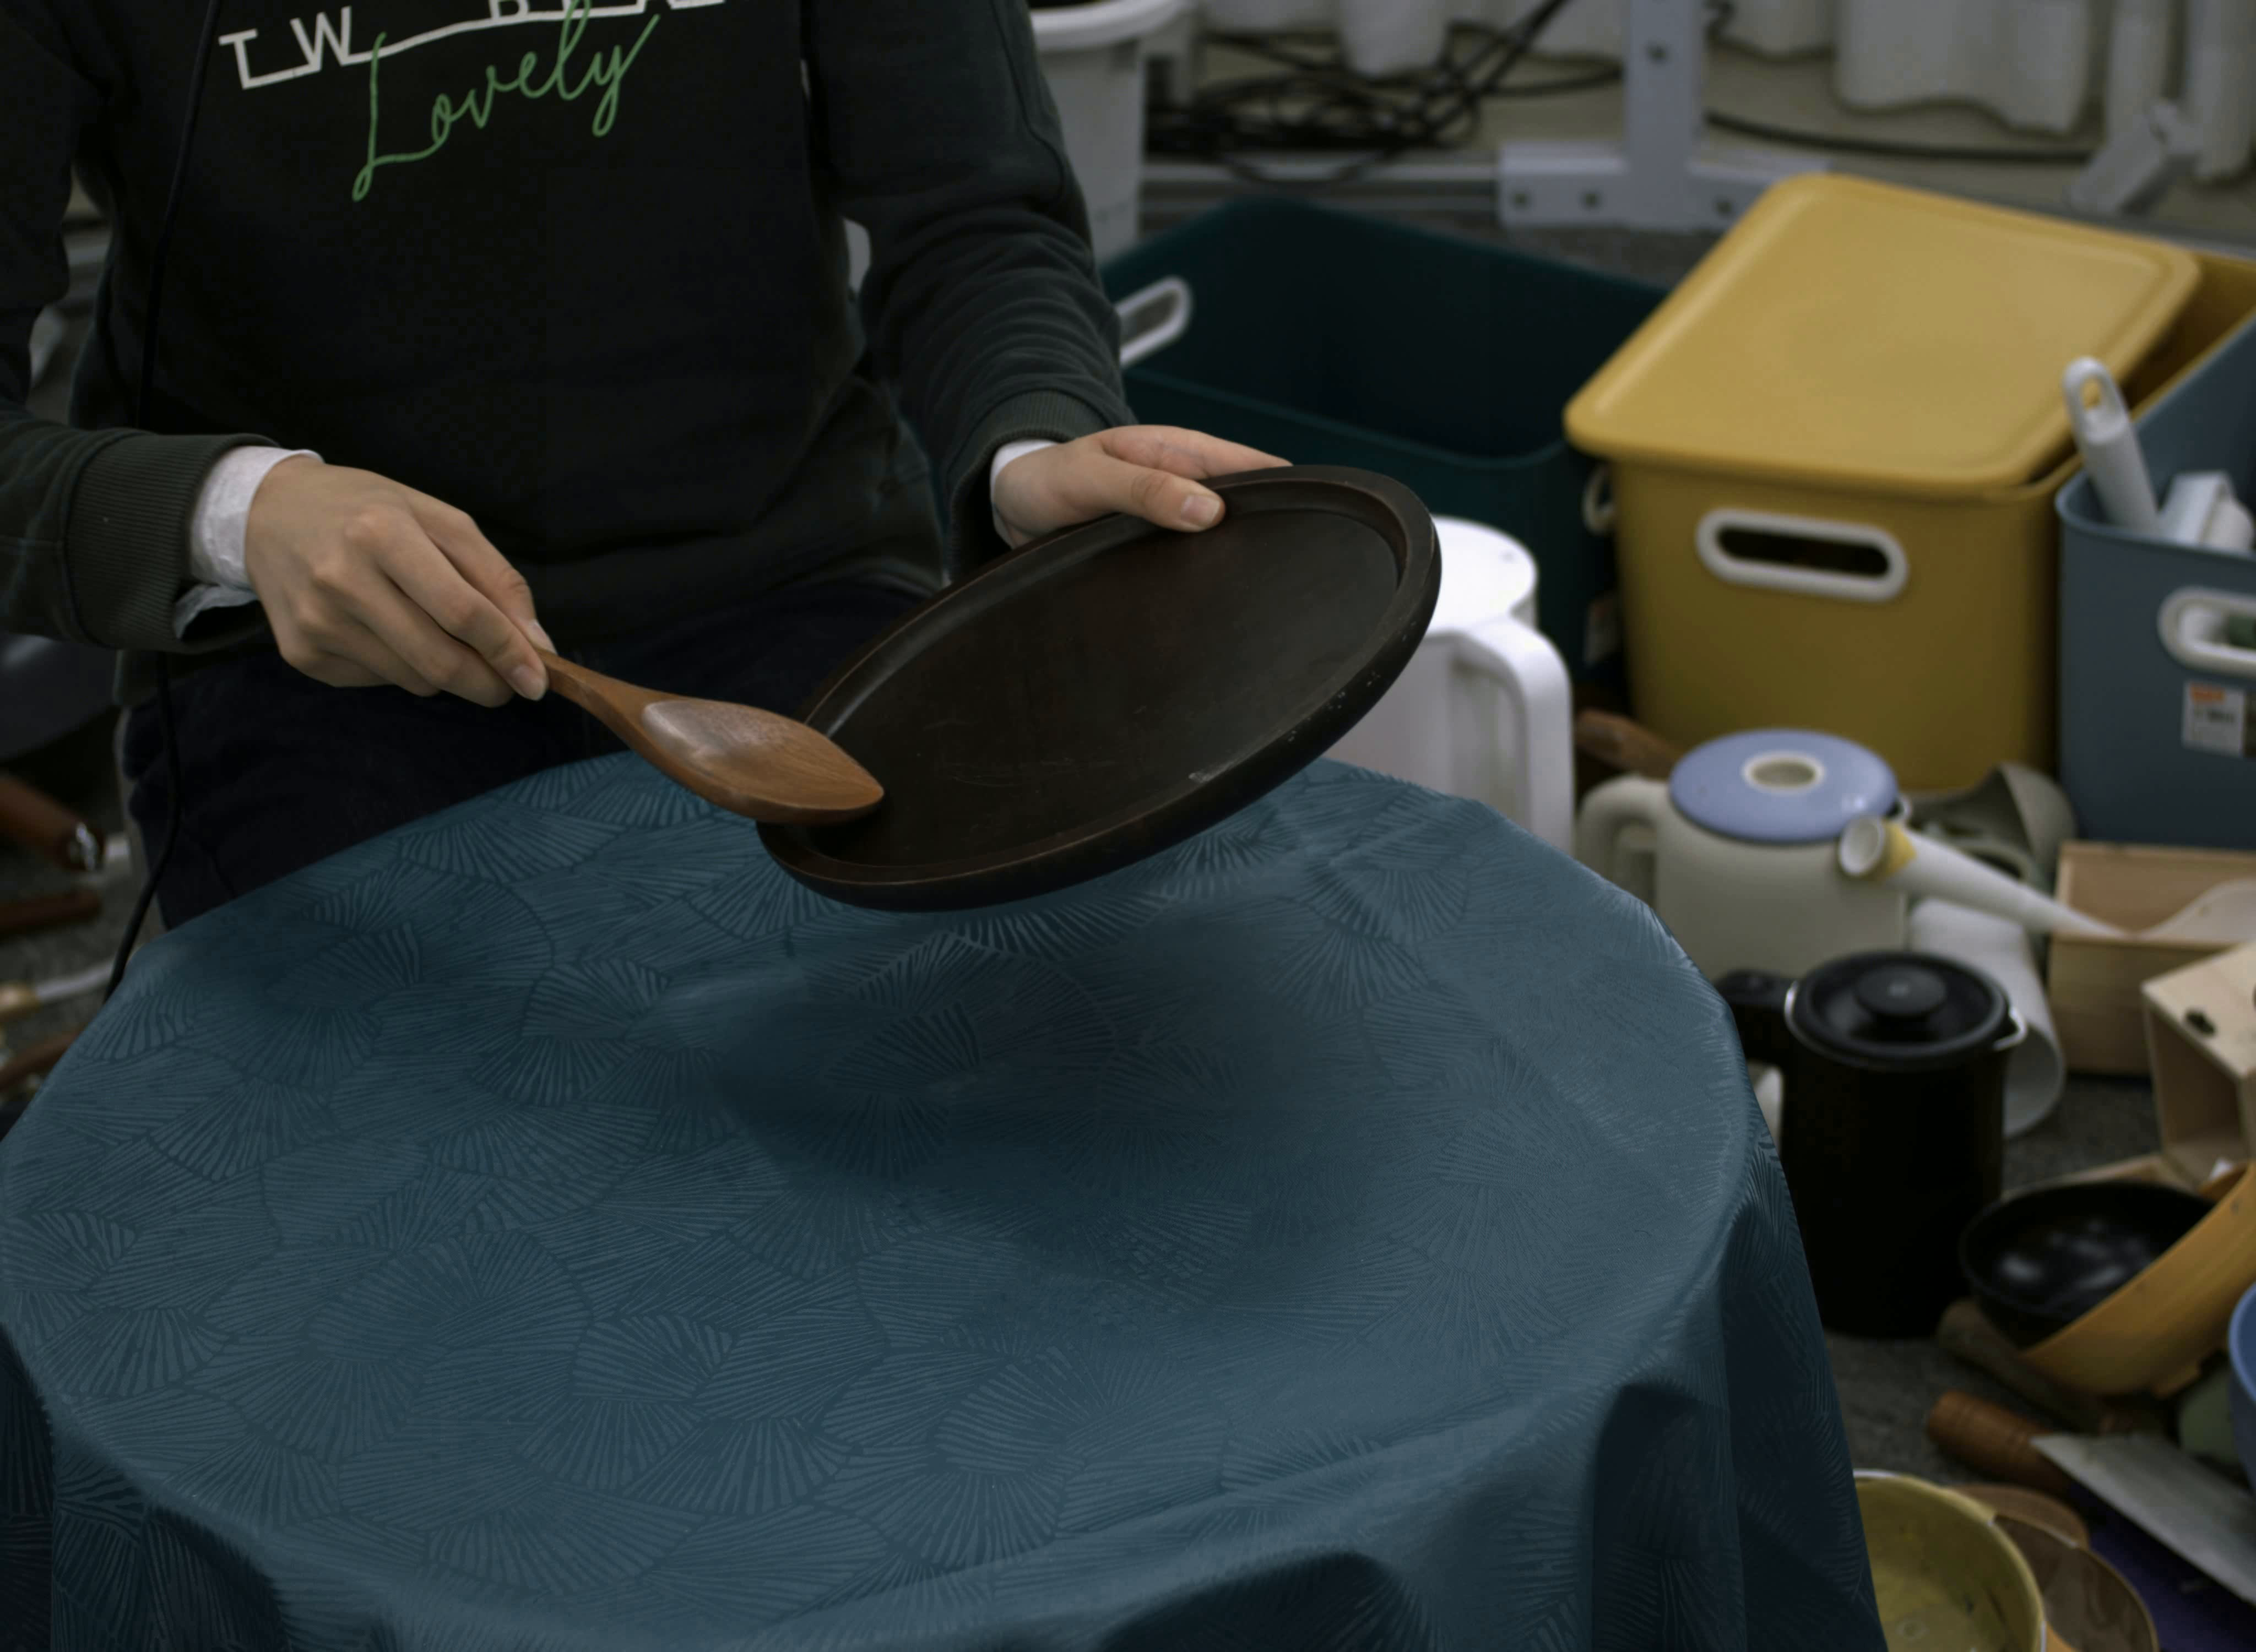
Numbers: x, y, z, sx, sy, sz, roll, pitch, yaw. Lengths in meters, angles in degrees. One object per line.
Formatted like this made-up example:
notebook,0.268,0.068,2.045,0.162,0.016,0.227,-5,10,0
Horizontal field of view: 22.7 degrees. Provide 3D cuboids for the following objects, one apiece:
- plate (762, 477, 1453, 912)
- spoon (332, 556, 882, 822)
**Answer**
plate,-0.006,-0.046,1.905,0.253,0.029,0.258,-19,25,10
spoon,-0.180,-0.045,1.916,0.215,0.017,0.076,25,25,19
